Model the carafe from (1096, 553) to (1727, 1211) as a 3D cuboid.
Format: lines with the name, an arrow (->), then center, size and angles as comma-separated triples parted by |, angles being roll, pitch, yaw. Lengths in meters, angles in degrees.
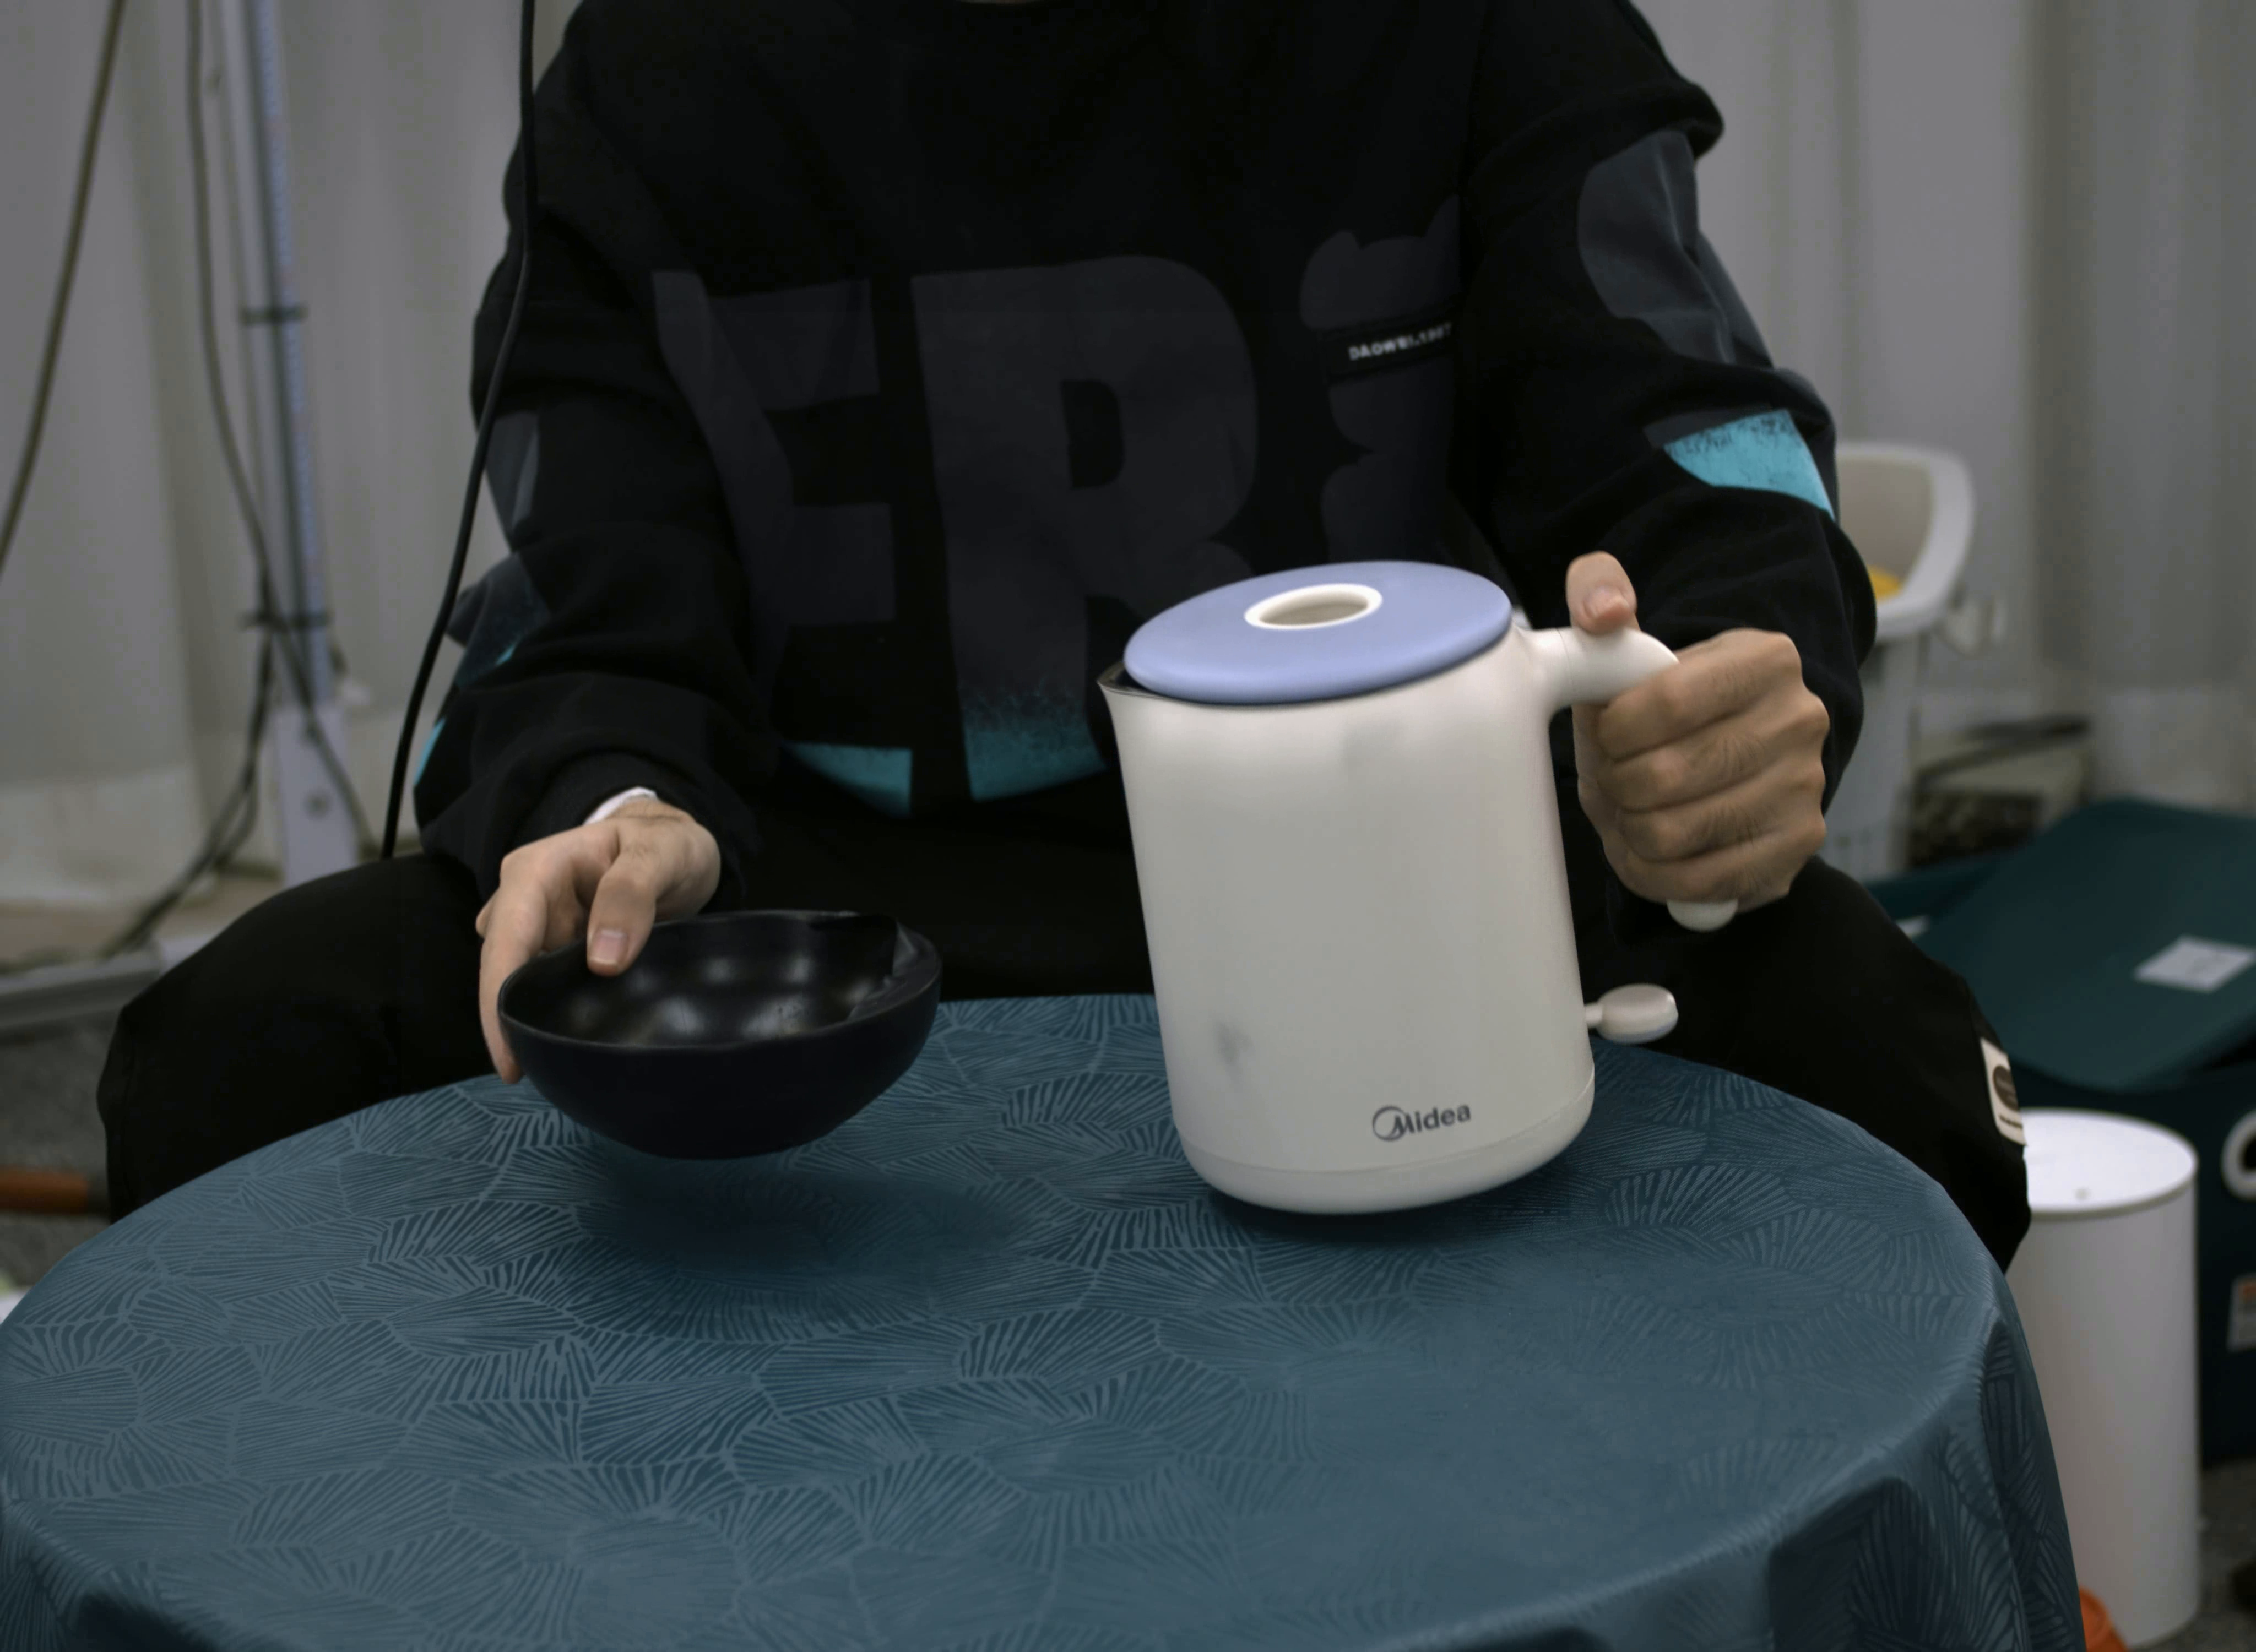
carafe -> 0.091, 0.012, 1.682 | 0.190, 0.181, 0.133 | -9, 18, -8

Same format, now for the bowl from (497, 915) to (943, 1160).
bowl -> -0.124, 0.069, 1.695 | 0.139, 0.049, 0.141 | -5, 13, 1
